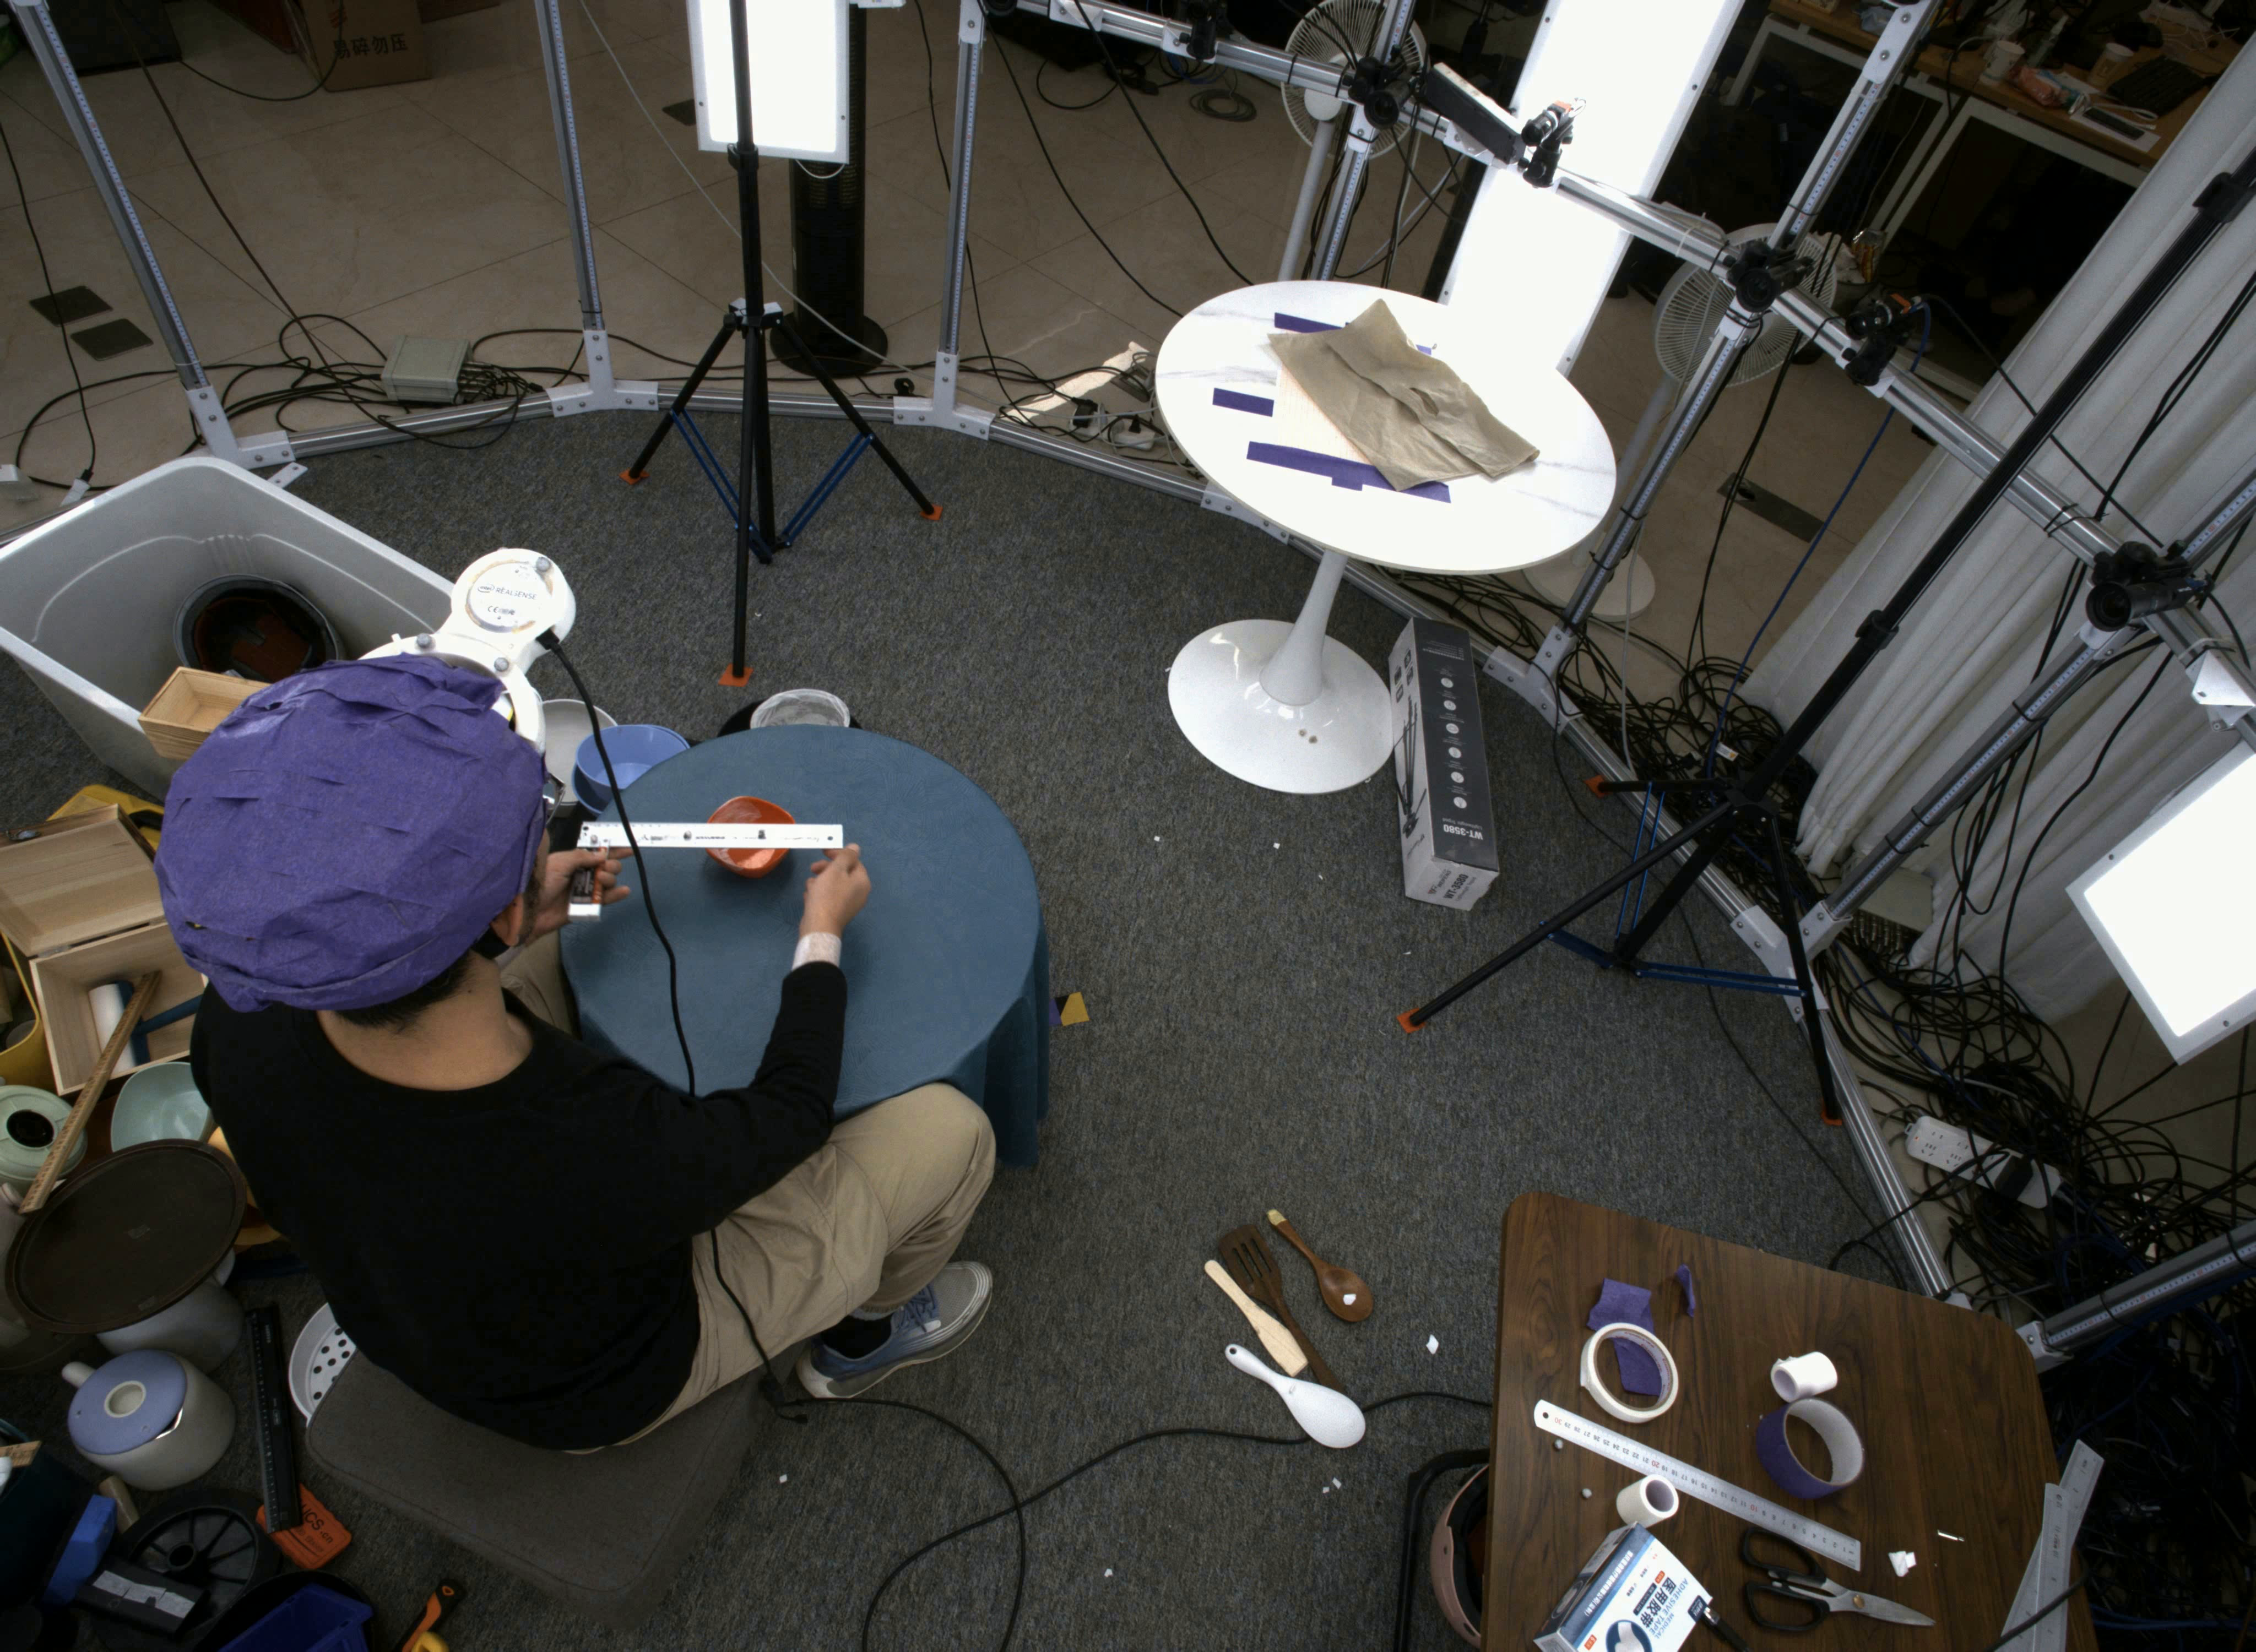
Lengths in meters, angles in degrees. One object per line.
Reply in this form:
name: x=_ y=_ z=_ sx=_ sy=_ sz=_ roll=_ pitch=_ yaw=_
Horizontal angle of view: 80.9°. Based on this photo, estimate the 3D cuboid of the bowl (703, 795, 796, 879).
bowl: x=-0.484 y=0.021 z=1.653 sx=0.119 sy=0.052 sz=0.117 roll=9 pitch=51 yaw=-10

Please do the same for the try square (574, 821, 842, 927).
try square: x=-0.496 y=0.051 z=1.531 sx=0.314 sy=0.016 sz=0.148 roll=1 pitch=51 yaw=-17
